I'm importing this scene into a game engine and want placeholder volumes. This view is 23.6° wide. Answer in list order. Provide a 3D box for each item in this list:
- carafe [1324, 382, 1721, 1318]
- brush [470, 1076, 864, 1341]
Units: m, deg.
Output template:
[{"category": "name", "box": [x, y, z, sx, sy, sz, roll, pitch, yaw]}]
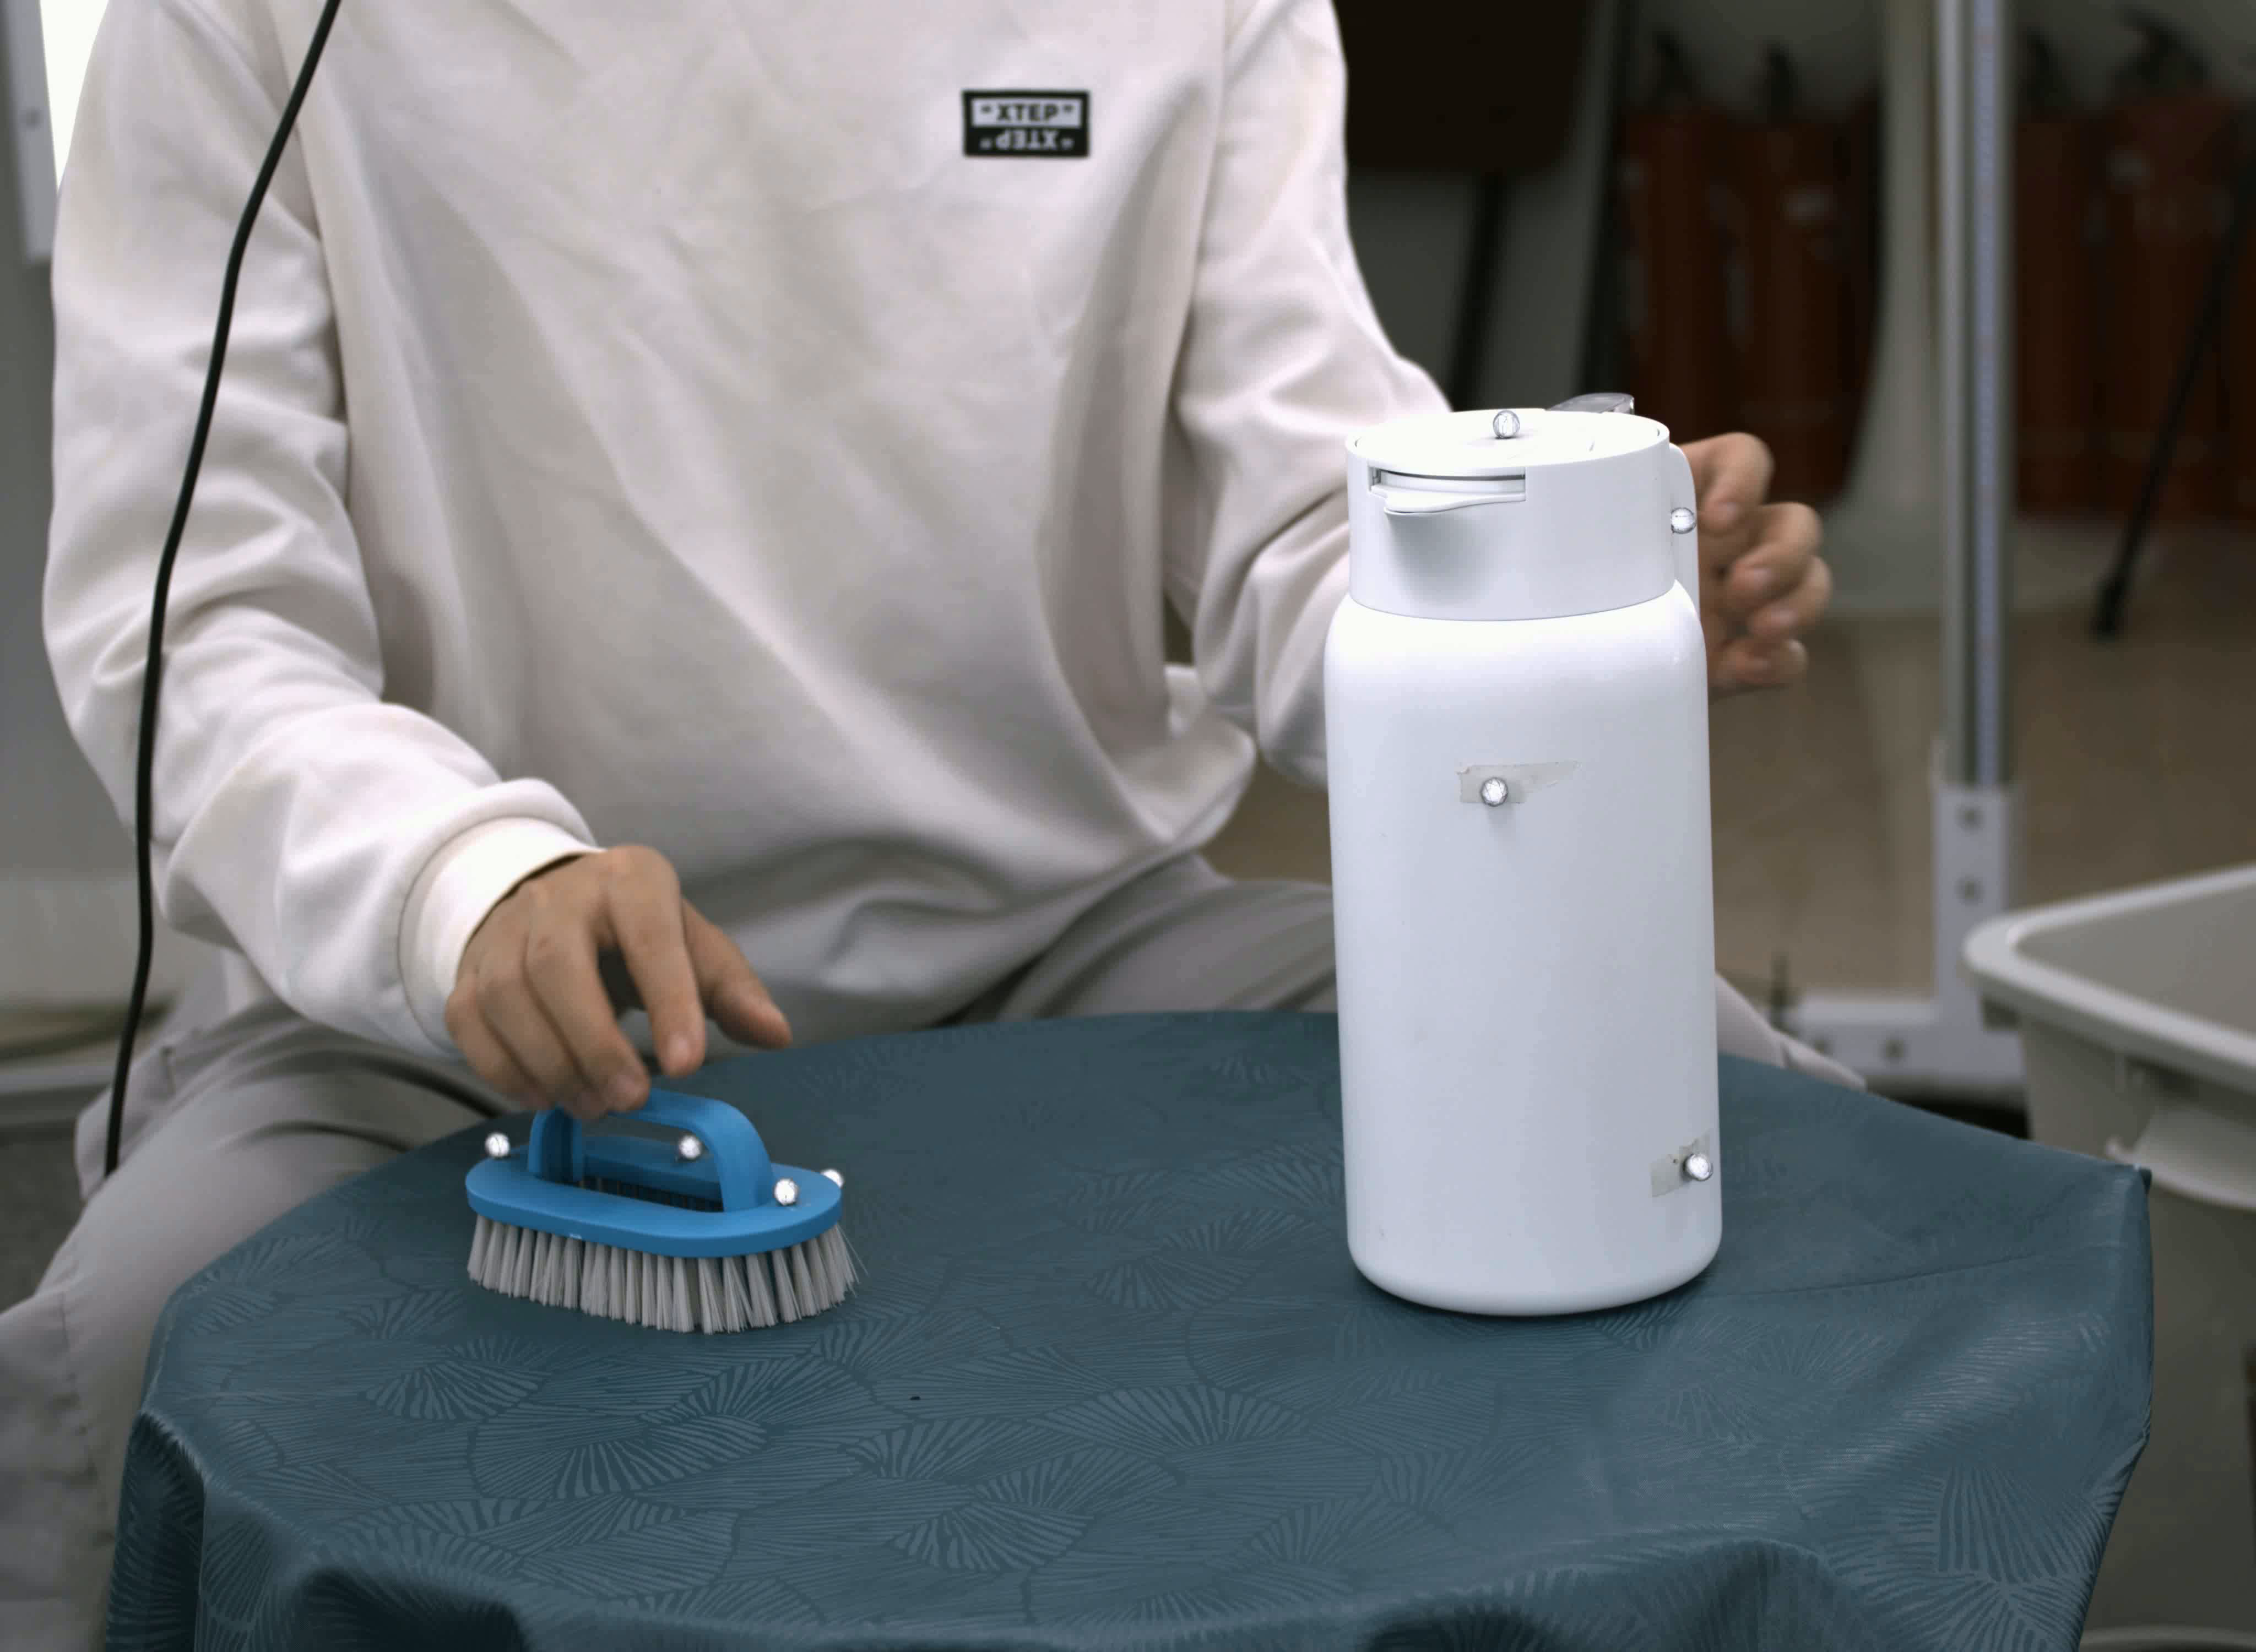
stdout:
[{"category": "carafe", "box": [0.128, 0.003, 1.658, 0.124, 0.272, 0.170, 2, 13, 31]}, {"category": "brush", "box": [-0.150, 0.114, 1.711, 0.143, 0.064, 0.083, 7, 21, 41]}]
